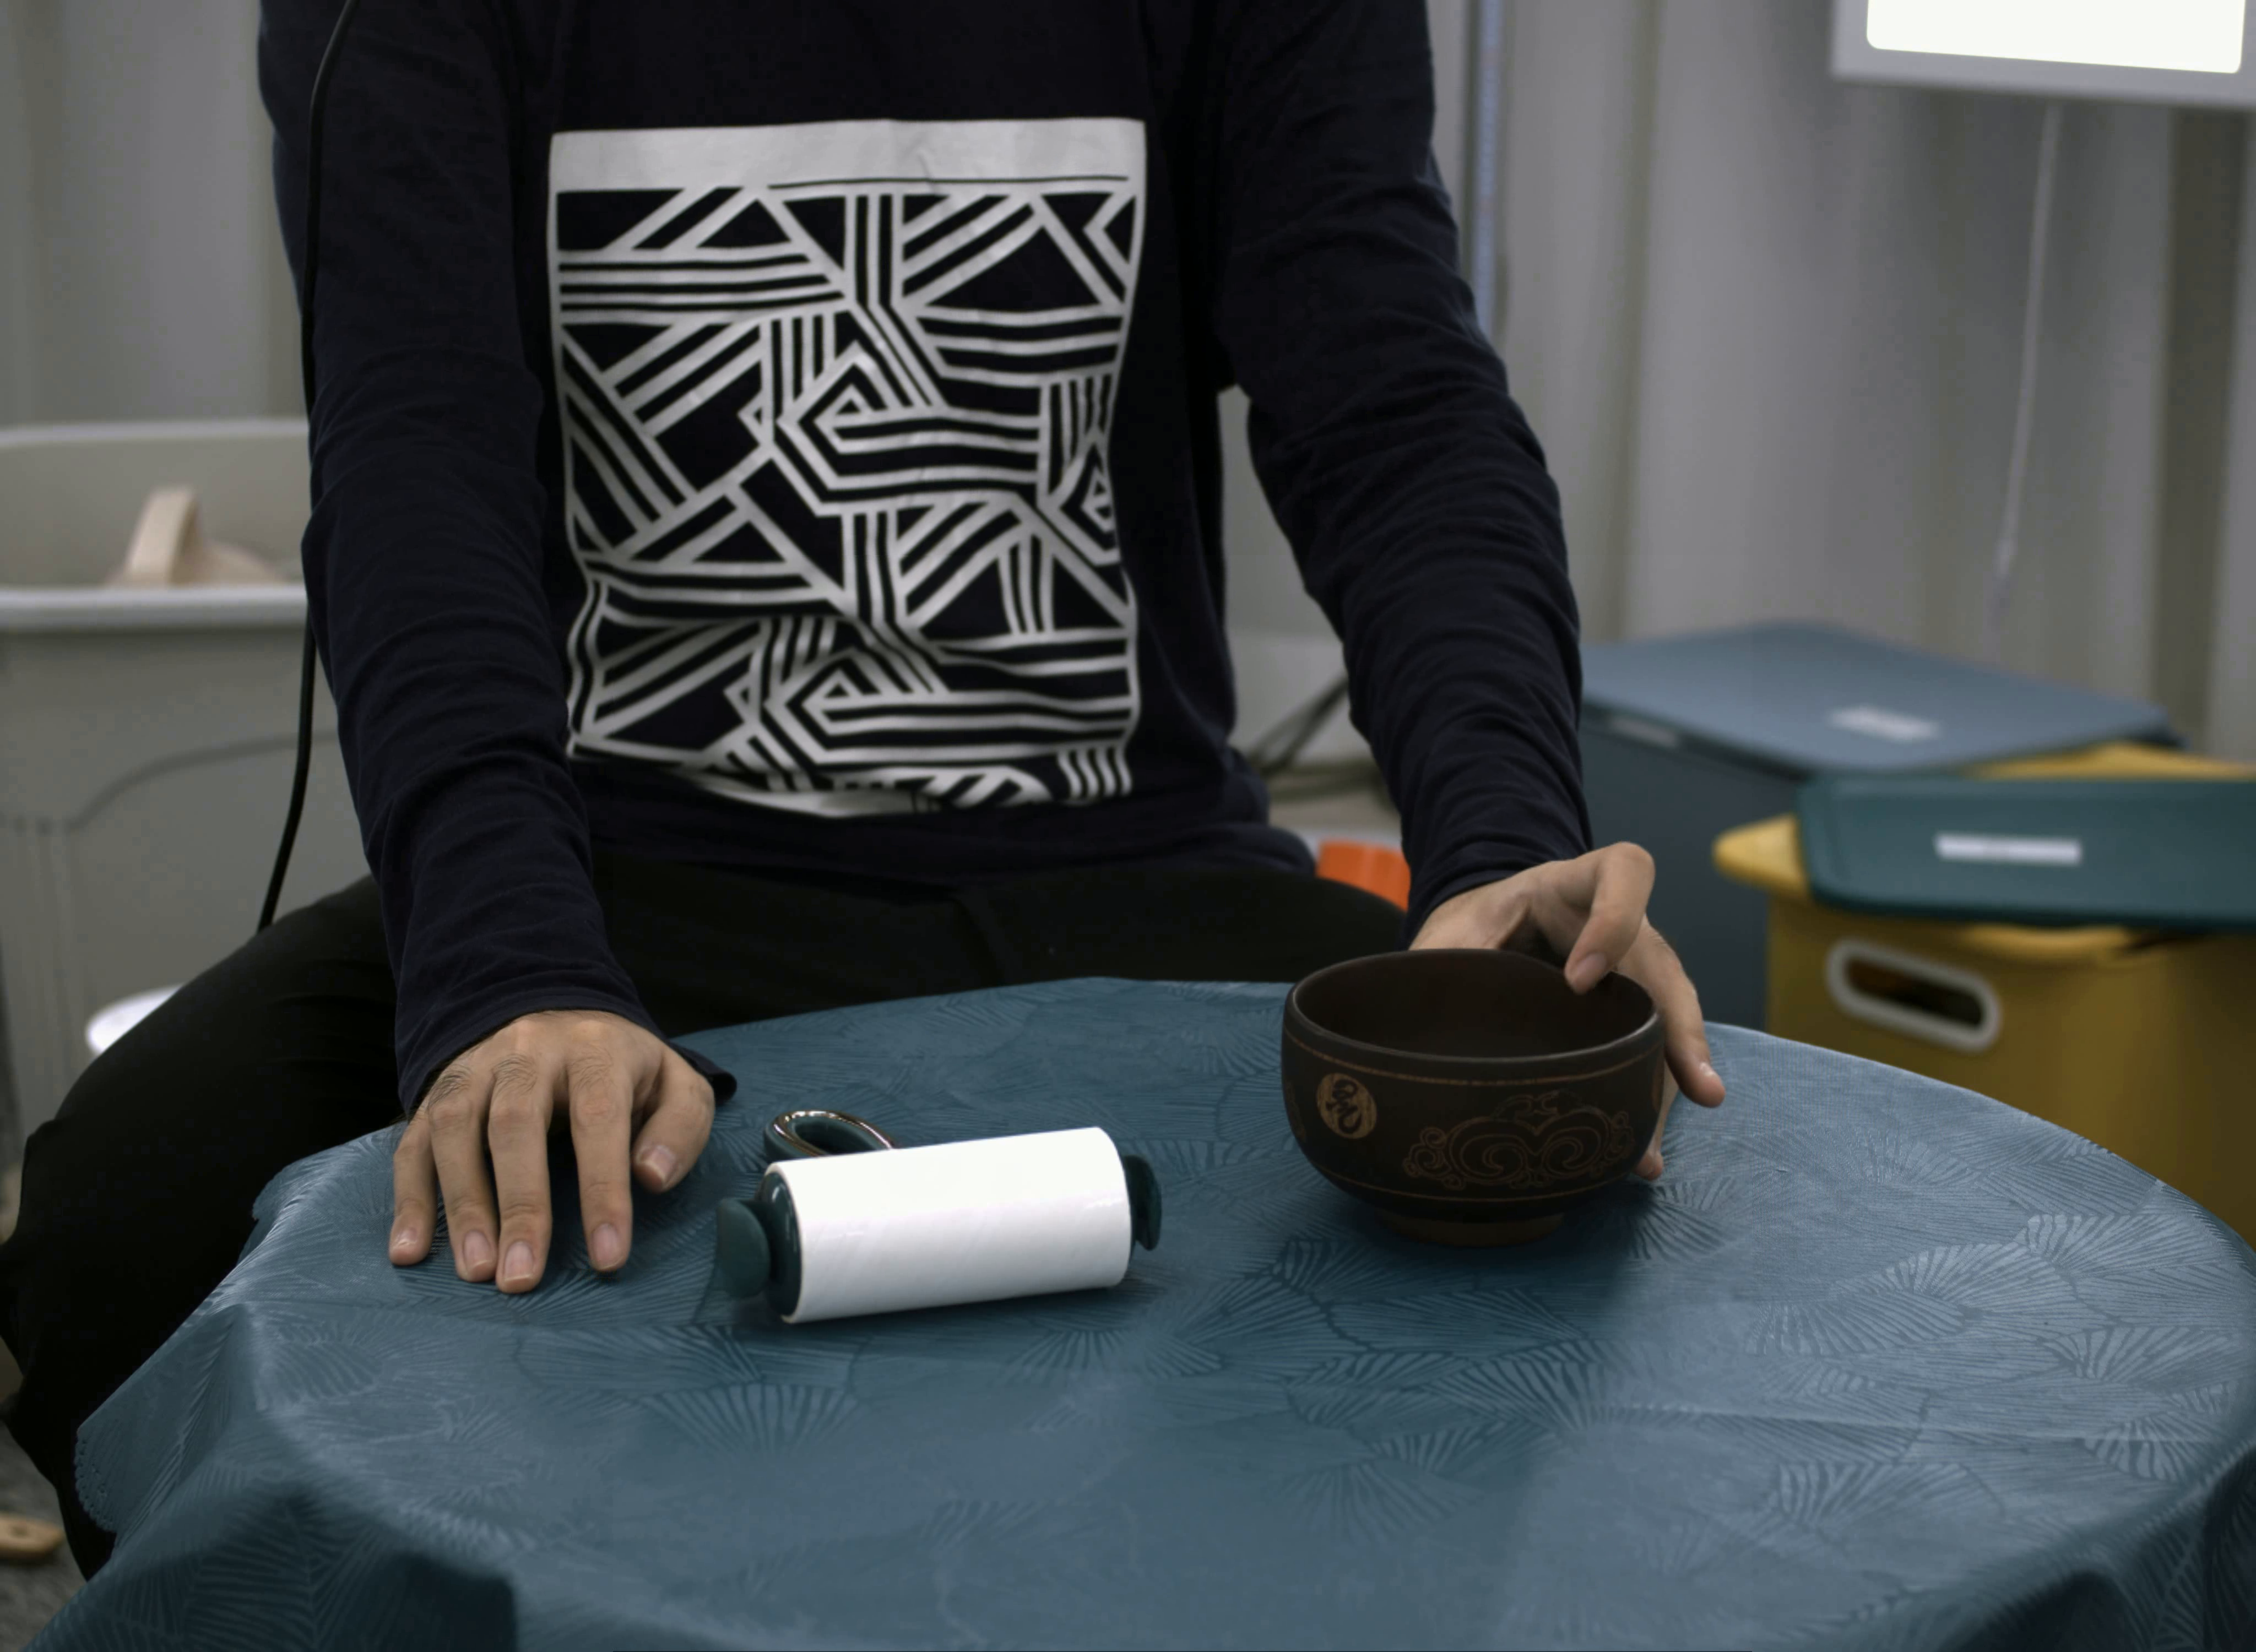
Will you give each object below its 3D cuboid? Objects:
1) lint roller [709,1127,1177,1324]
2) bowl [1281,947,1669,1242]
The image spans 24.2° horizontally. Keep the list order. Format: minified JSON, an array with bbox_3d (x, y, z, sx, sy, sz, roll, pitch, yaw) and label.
[{"bbox_3d":[-0.076,0.102,1.584,0.134,0.048,0.178,-5,13,-20],"label":"lint roller"},{"bbox_3d":[0.105,0.085,1.594,0.117,0.070,0.117,-2,14,1],"label":"bowl"}]
